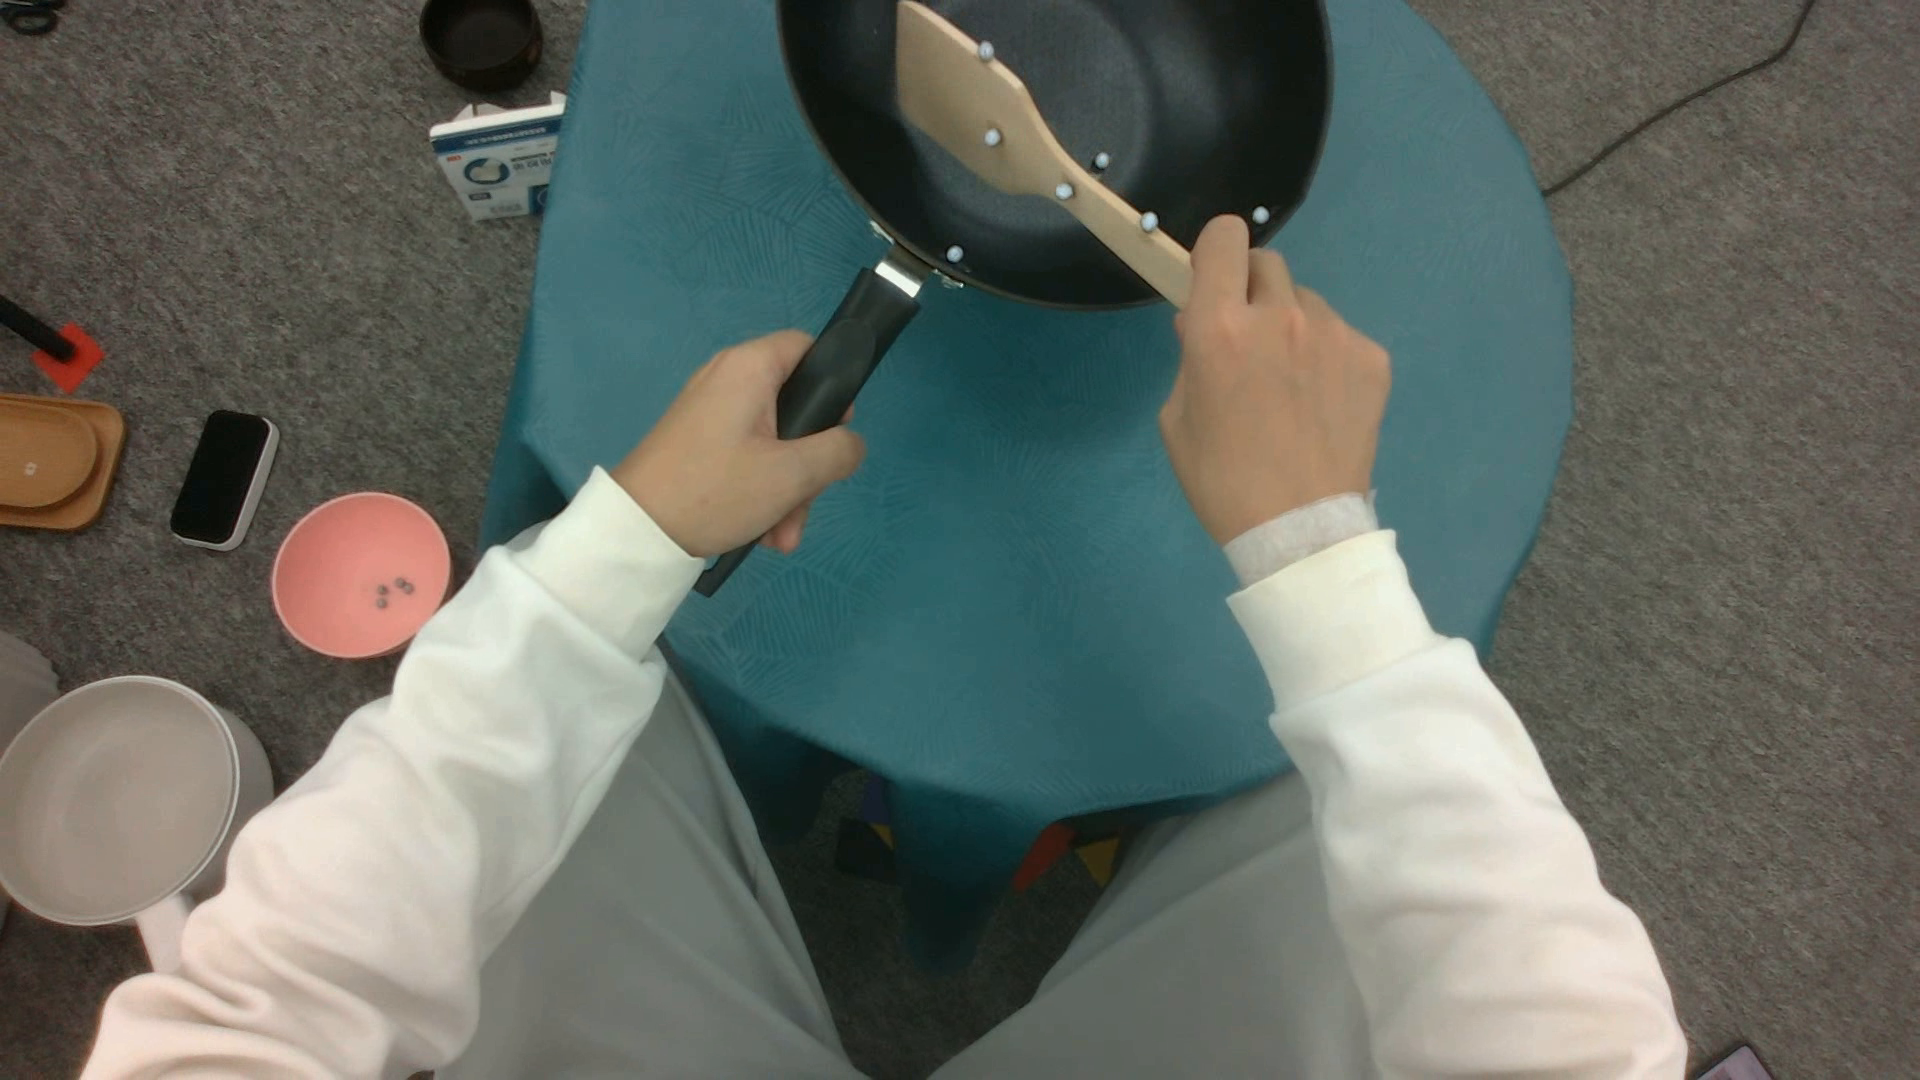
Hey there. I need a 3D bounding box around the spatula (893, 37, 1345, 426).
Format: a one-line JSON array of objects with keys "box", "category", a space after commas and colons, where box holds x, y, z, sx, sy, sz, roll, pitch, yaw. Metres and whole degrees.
[{"box": [0.067, -0.146, 0.656, 0.011, 0.072, 0.293, -36, 64, -24], "category": "spatula"}]

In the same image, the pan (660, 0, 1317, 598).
[{"box": [-0.007, -0.163, 0.701, 0.288, 0.086, 0.464, 32, 77, -5], "category": "pan"}]
